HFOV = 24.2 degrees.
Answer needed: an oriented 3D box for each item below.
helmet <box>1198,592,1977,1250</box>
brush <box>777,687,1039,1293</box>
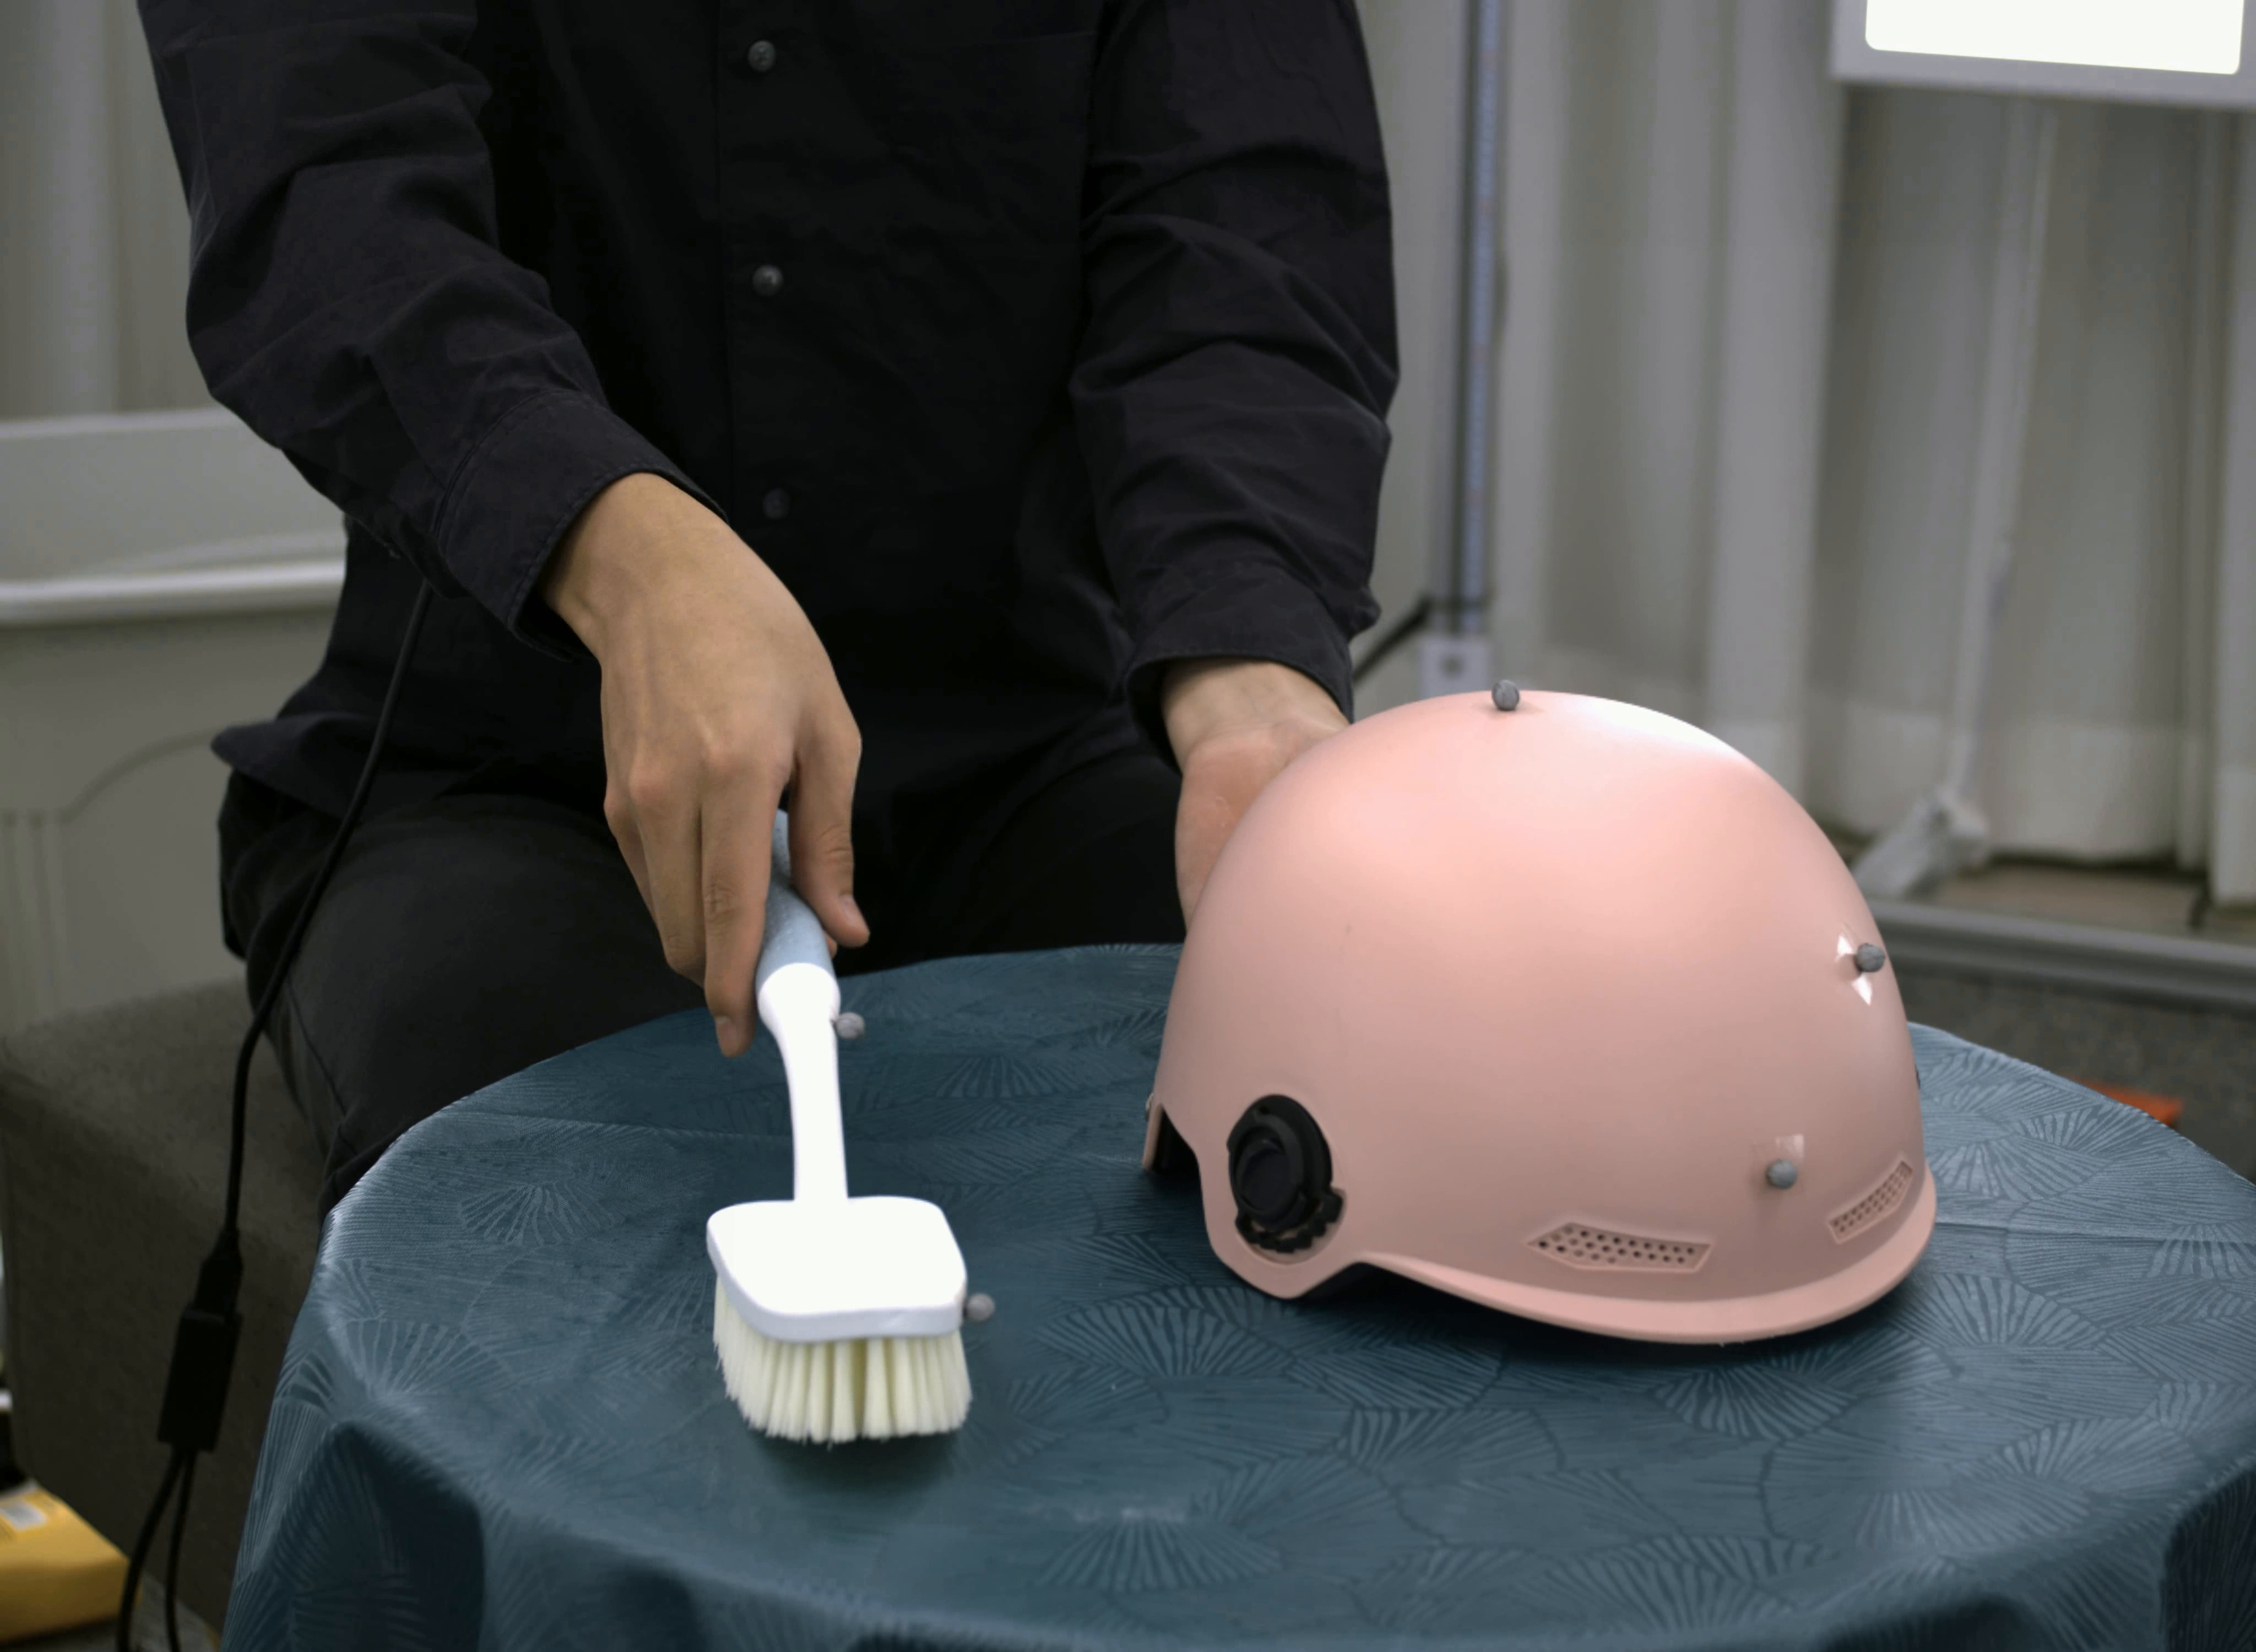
[{"bbox_3d":[0.145,0.015,1.615,0.235,0.160,0.262,-7,22,-28],"label":"helmet"},{"bbox_3d":[-0.071,0.061,1.574,0.084,0.084,0.322,34,15,-22],"label":"brush"}]
